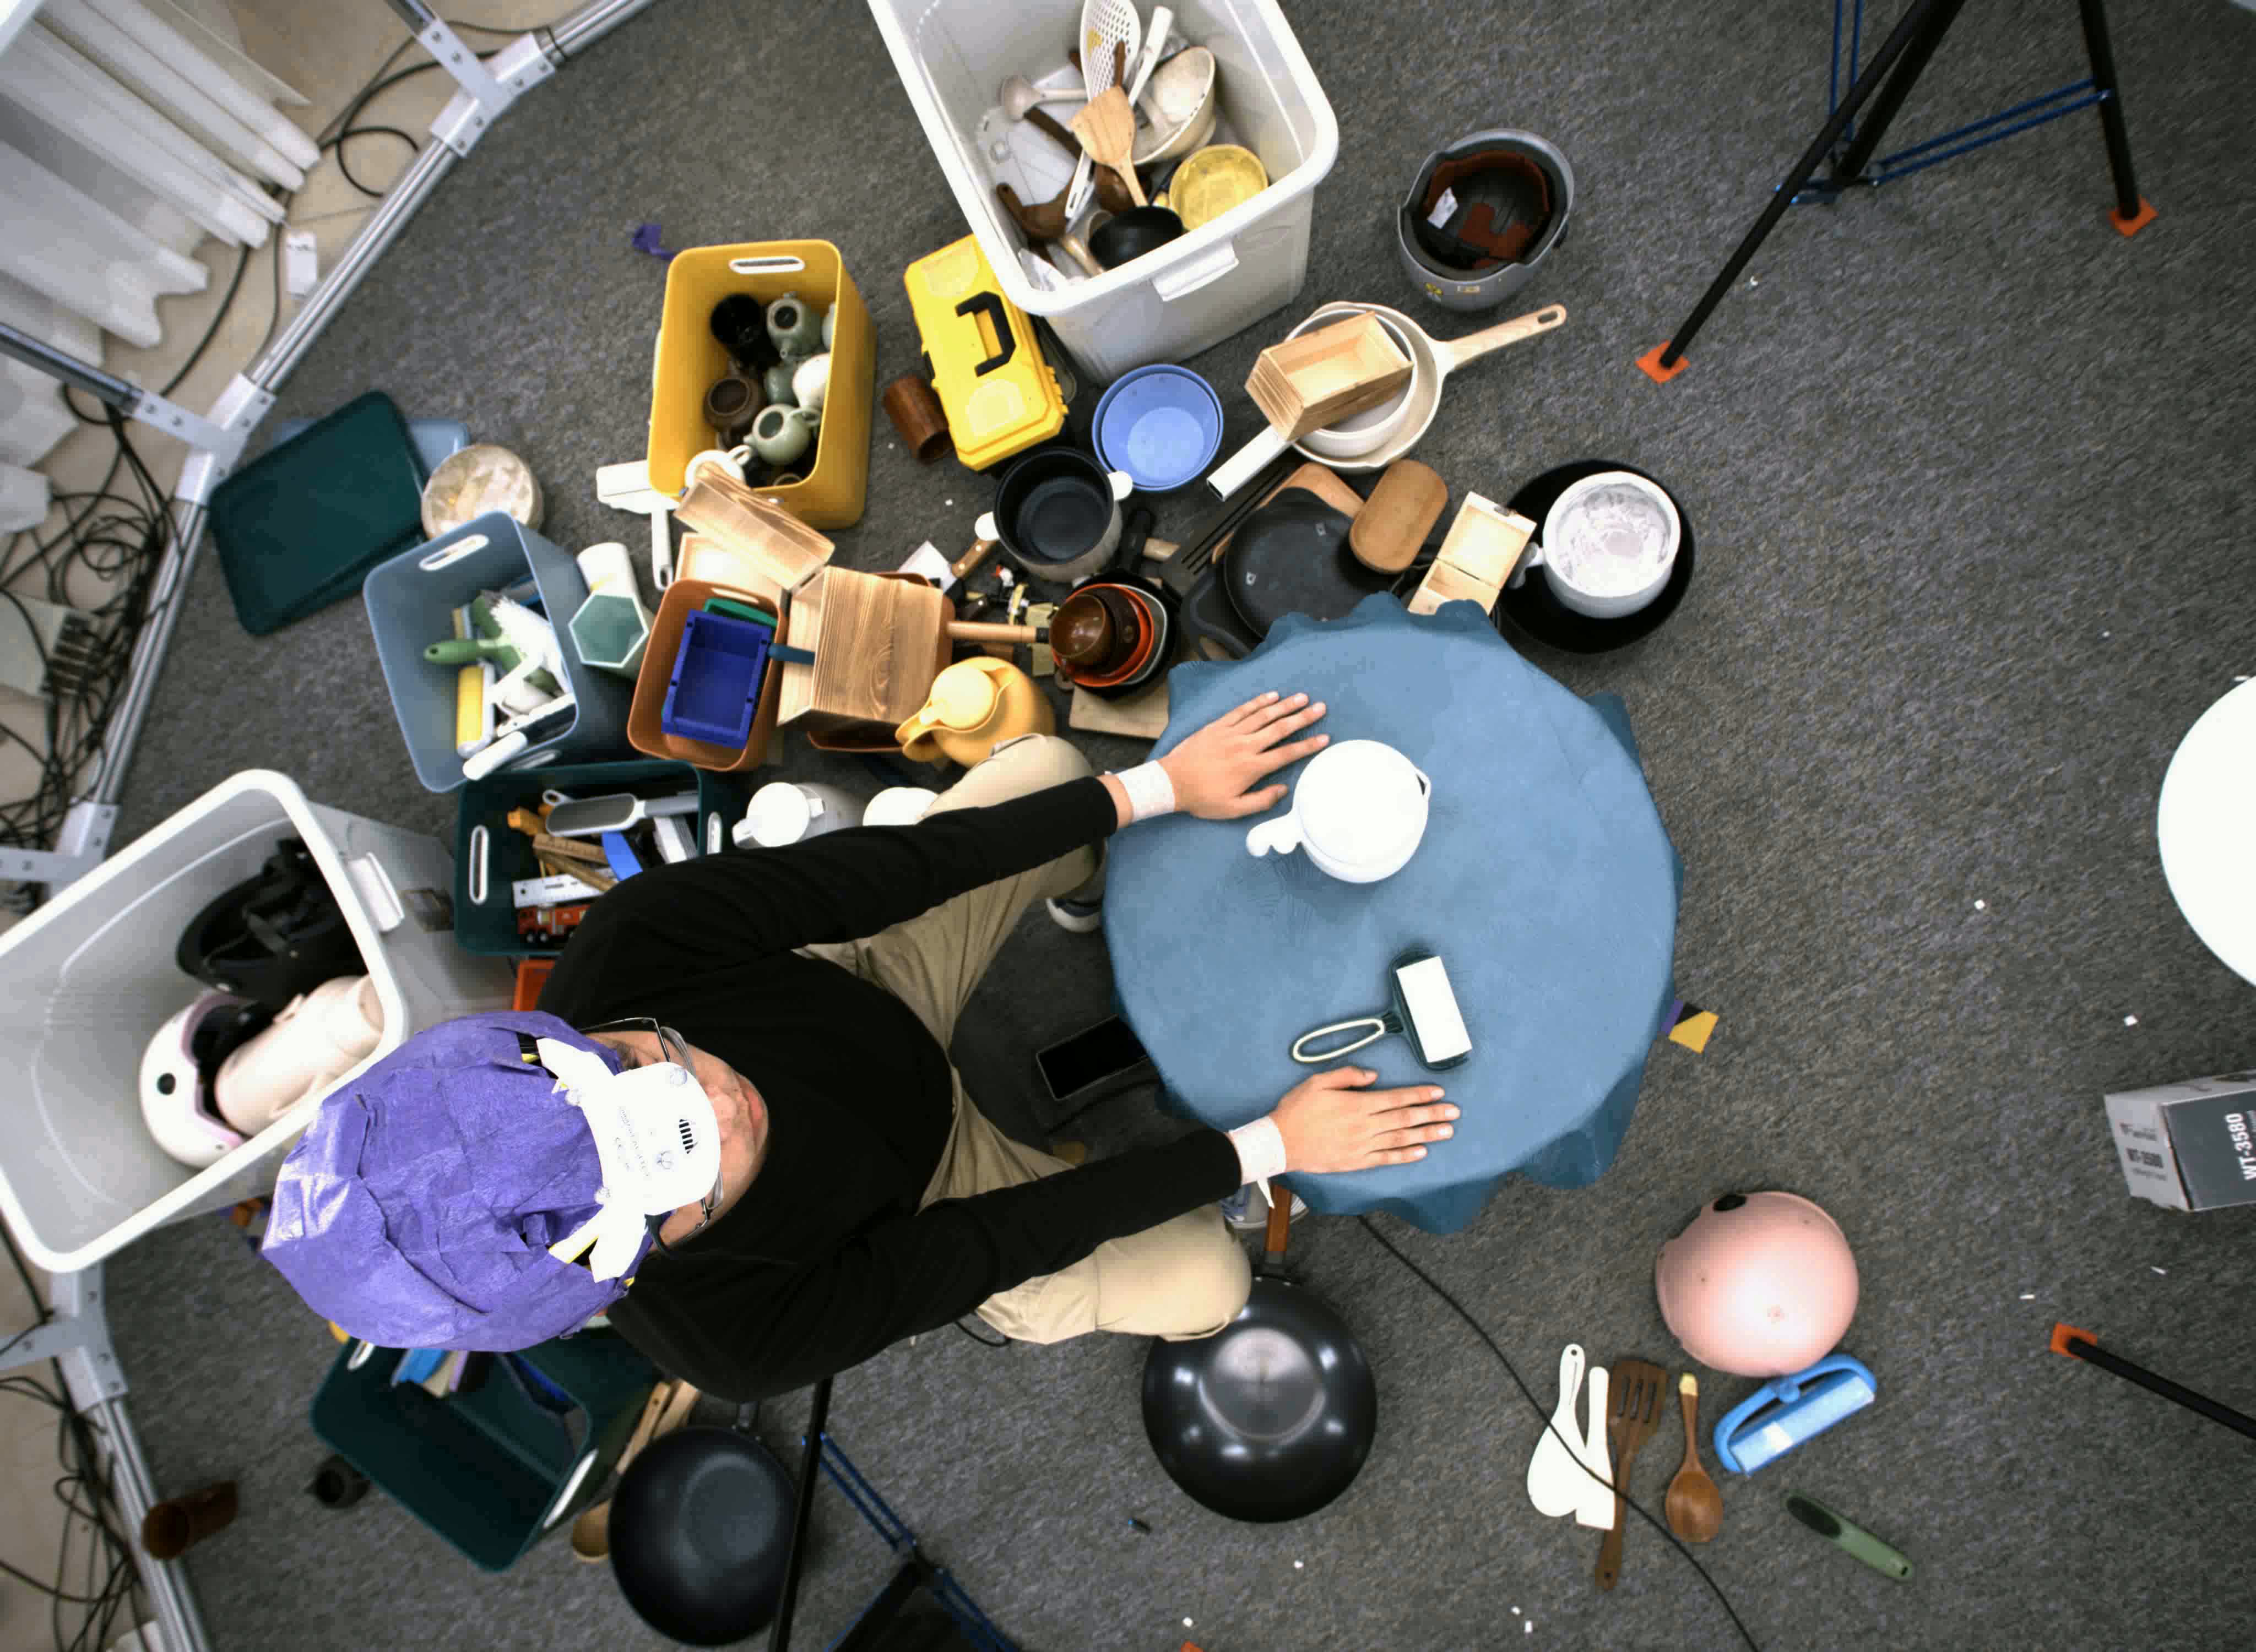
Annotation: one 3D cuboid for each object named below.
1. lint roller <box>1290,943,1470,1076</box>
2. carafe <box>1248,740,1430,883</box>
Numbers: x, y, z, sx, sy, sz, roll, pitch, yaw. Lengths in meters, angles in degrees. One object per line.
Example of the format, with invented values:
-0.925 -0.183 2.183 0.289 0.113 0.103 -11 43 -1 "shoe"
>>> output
0.252 0.210 1.434 0.181 0.048 0.133 -20 83 11 "lint roller"
0.210 -0.006 1.389 0.192 0.182 0.131 -19 81 10 "carafe"
